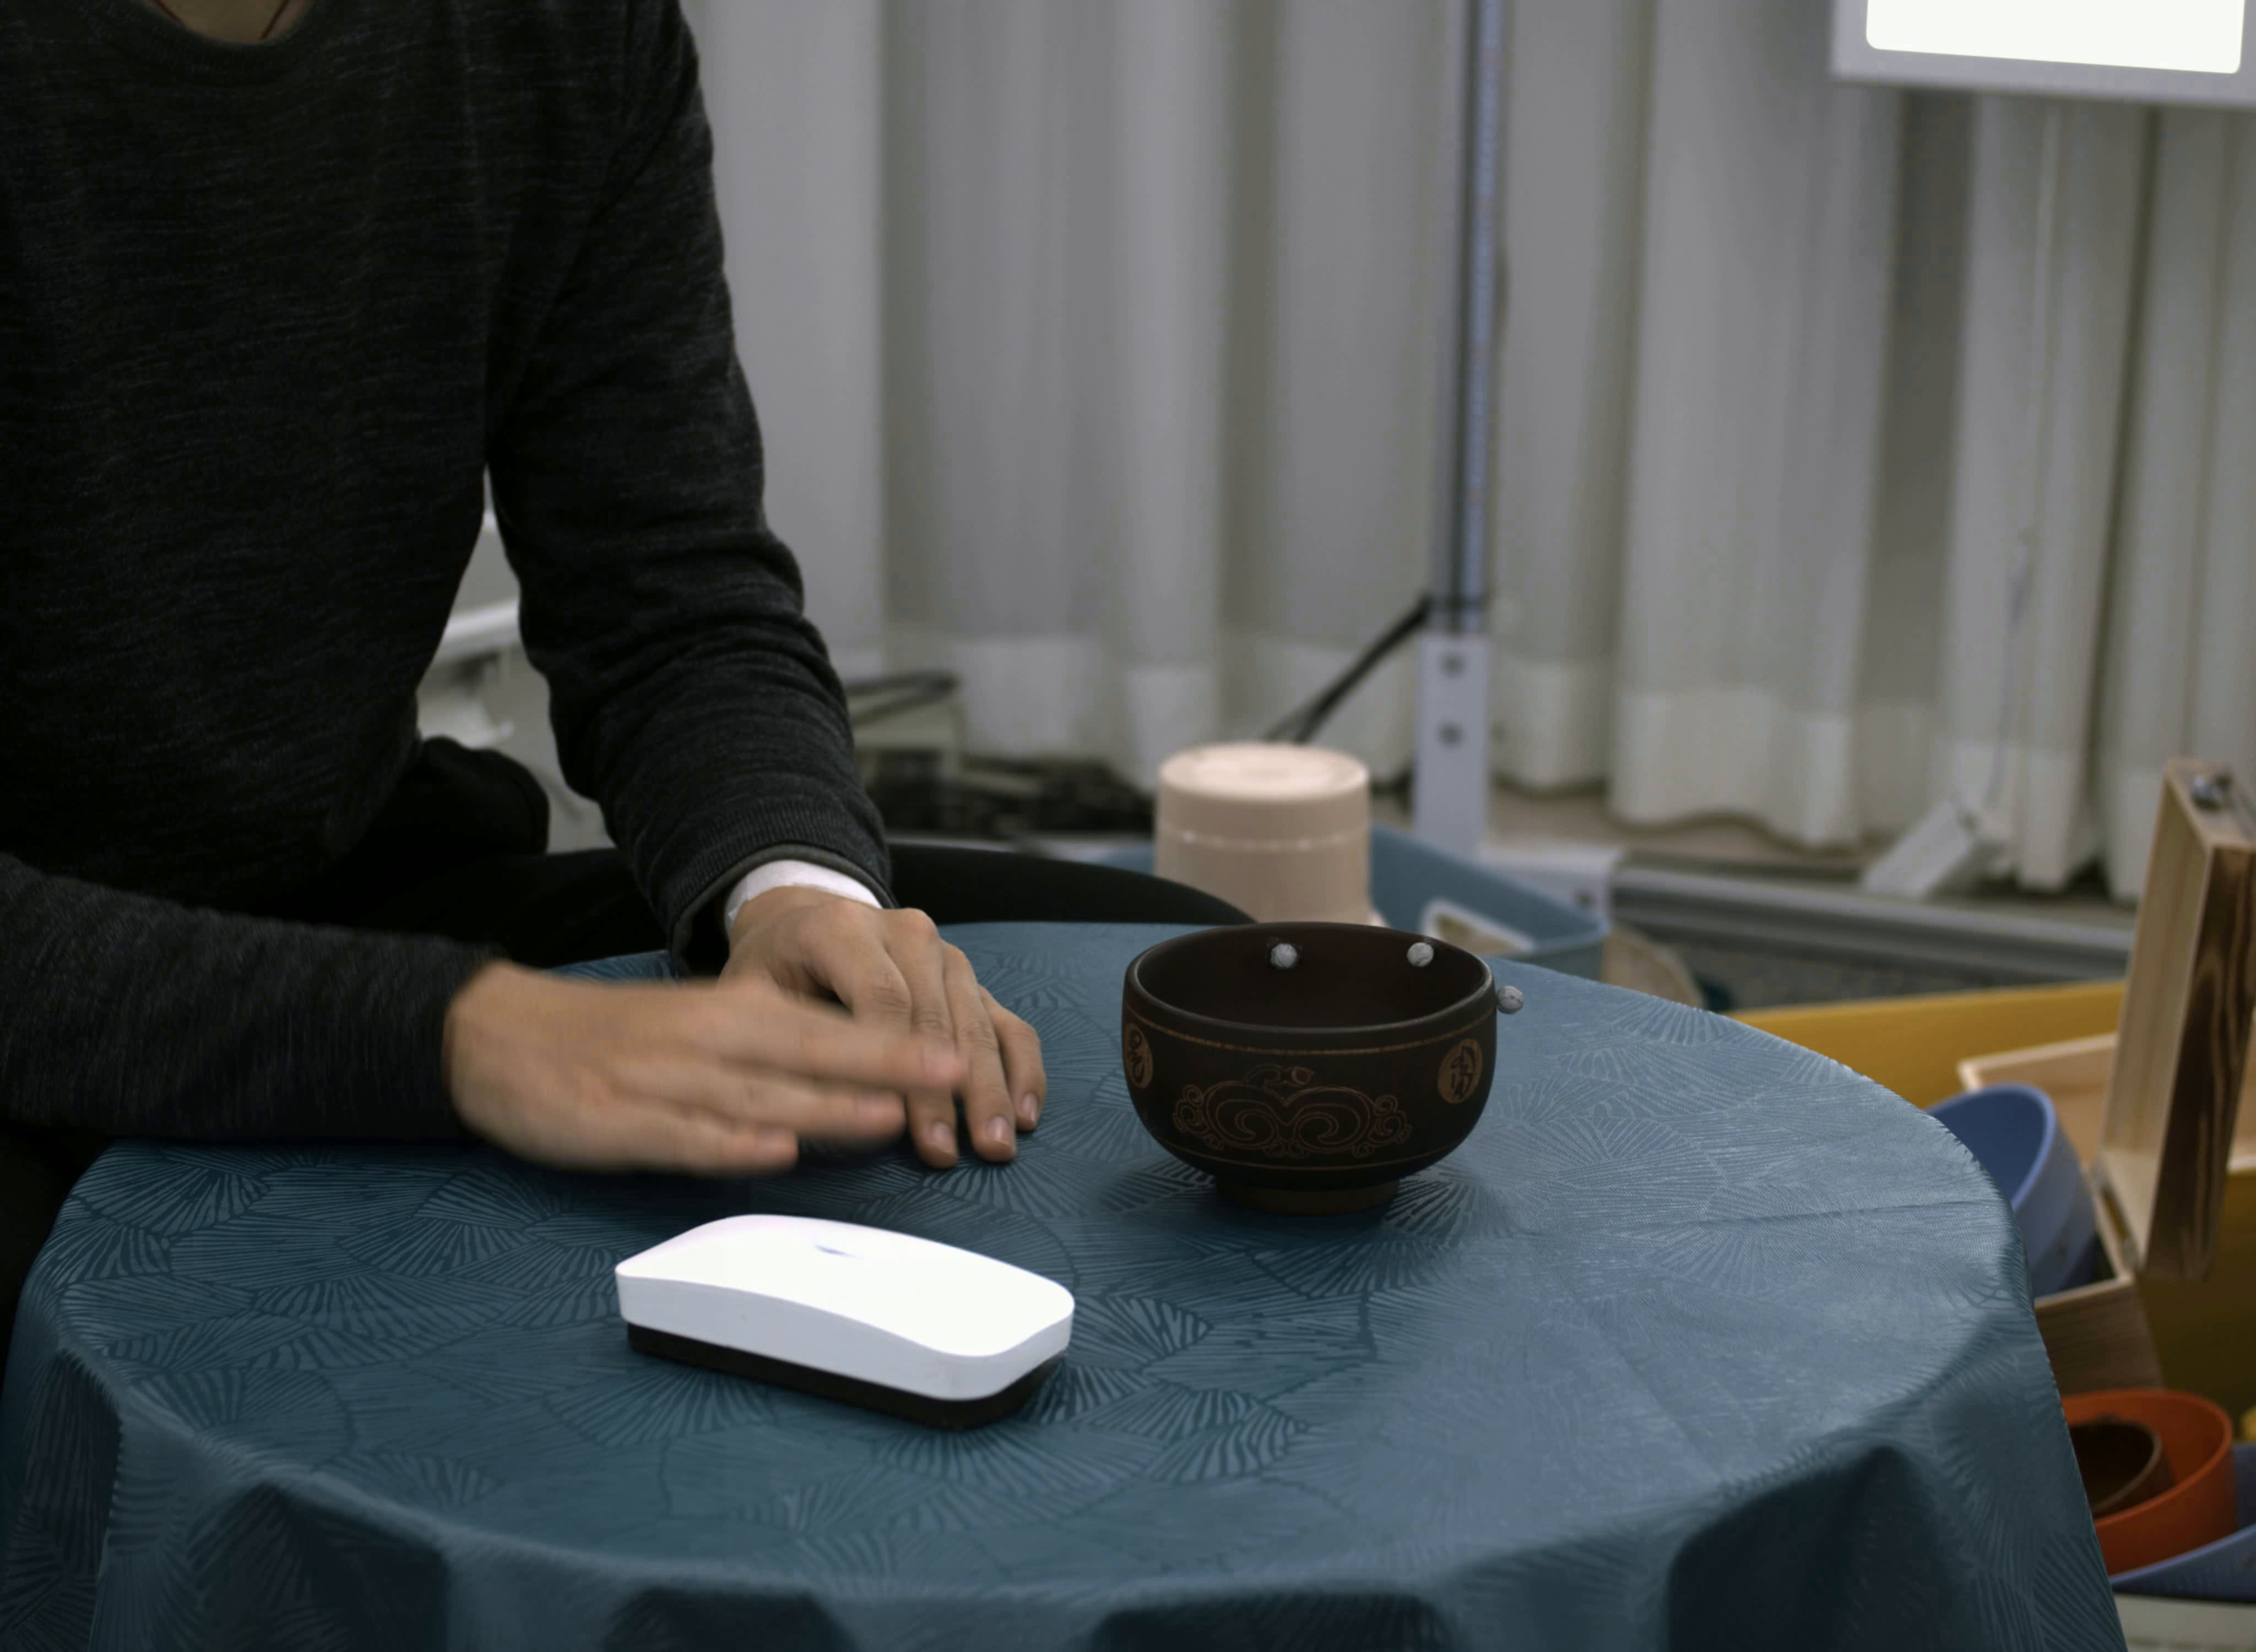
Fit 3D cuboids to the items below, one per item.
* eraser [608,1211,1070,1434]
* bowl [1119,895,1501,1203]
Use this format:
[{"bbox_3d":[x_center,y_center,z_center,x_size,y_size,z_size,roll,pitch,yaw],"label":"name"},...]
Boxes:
[{"bbox_3d":[-0.081,0.136,1.475,0.129,0.035,0.063,11,17,31],"label":"eraser"},{"bbox_3d":[0.057,0.073,1.623,0.117,0.070,0.117,-5,20,2],"label":"bowl"}]
